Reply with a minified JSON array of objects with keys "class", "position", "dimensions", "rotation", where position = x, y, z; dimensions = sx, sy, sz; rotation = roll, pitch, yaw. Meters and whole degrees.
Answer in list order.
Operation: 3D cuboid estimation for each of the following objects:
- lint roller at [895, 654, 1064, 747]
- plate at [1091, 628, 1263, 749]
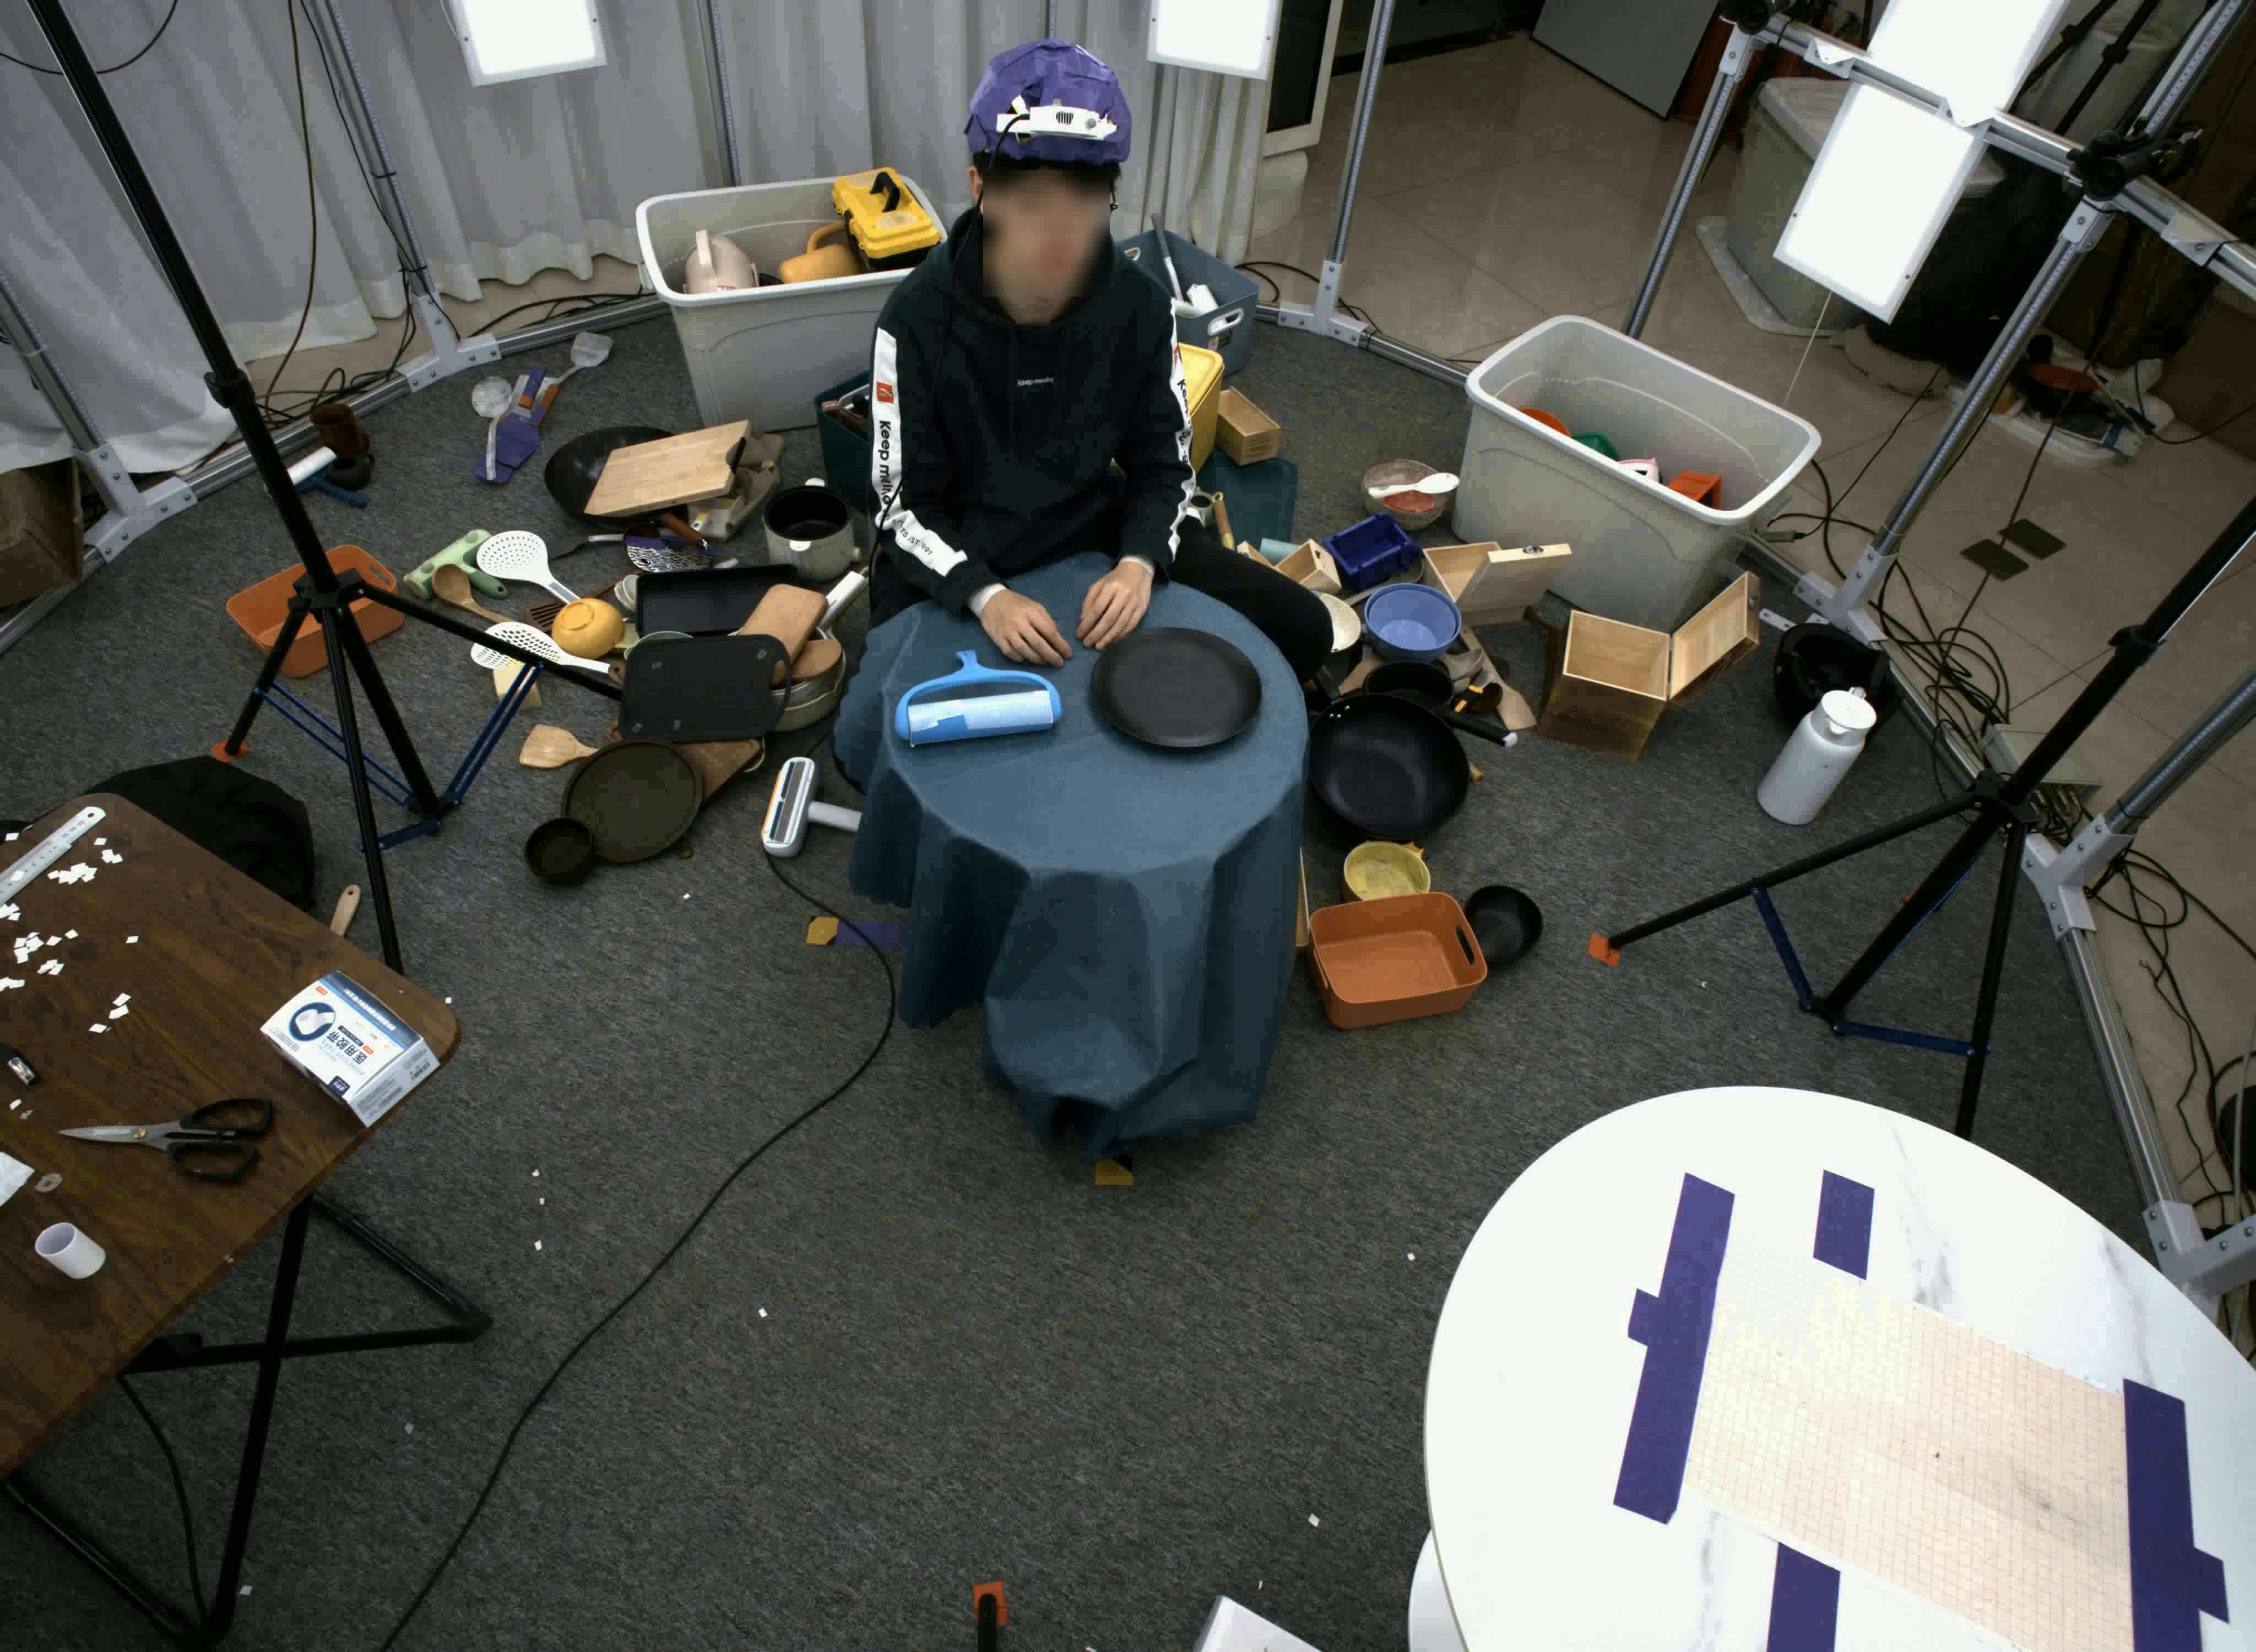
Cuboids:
[{"class":"lint roller","position":[-0.216,-0.192,1.784],"dimensions":[0.229,0.066,0.185],"rotation":[-11,51,-11]},{"class":"plate","position":[0.069,-0.193,1.825],"dimensions":[0.244,0.023,0.250],"rotation":[2,49,-2]}]
